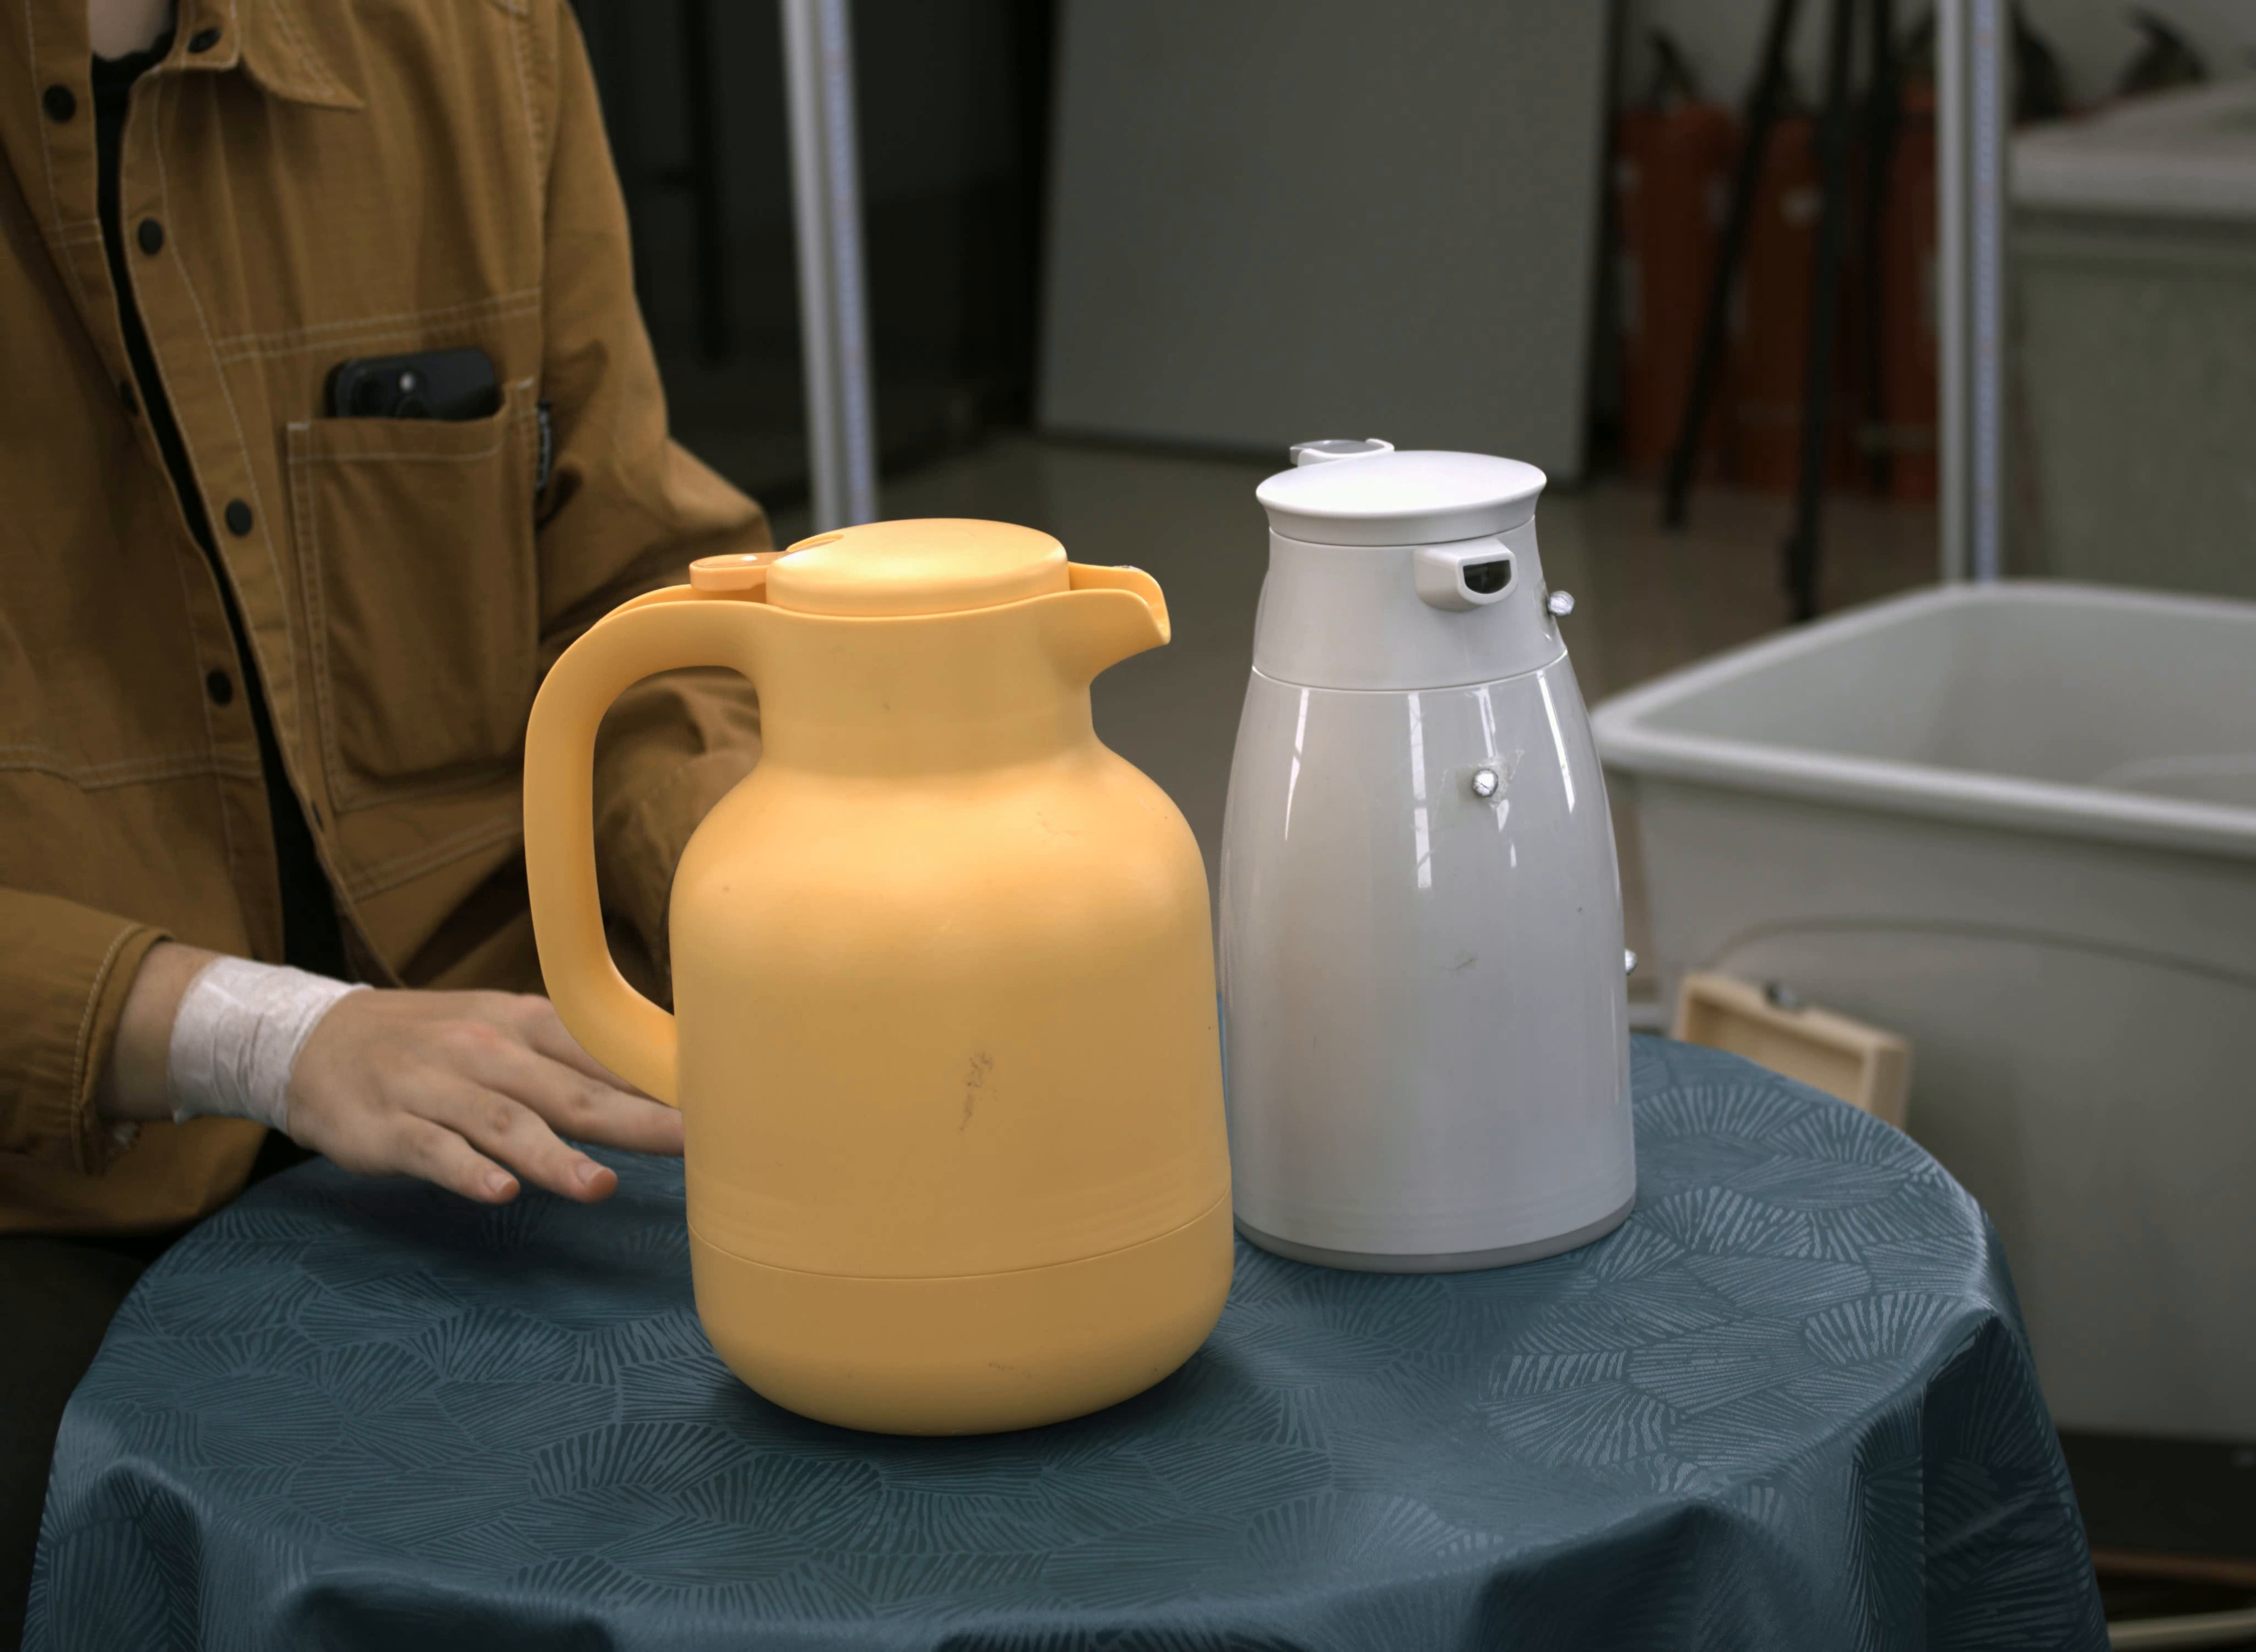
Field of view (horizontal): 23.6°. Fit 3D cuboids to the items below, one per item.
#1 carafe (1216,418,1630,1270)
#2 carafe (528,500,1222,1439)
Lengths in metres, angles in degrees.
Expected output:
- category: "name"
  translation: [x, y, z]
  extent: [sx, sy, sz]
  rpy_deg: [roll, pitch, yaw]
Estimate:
- category: "carafe"
  translation: [0.082, -0.002, 1.724]
  extent: [0.130, 0.251, 0.169]
  rpy_deg: [-9, 14, -20]
- category: "carafe"
  translation: [-0.074, 0.038, 1.589]
  extent: [0.201, 0.263, 0.162]
  rpy_deg: [0, 12, 12]
